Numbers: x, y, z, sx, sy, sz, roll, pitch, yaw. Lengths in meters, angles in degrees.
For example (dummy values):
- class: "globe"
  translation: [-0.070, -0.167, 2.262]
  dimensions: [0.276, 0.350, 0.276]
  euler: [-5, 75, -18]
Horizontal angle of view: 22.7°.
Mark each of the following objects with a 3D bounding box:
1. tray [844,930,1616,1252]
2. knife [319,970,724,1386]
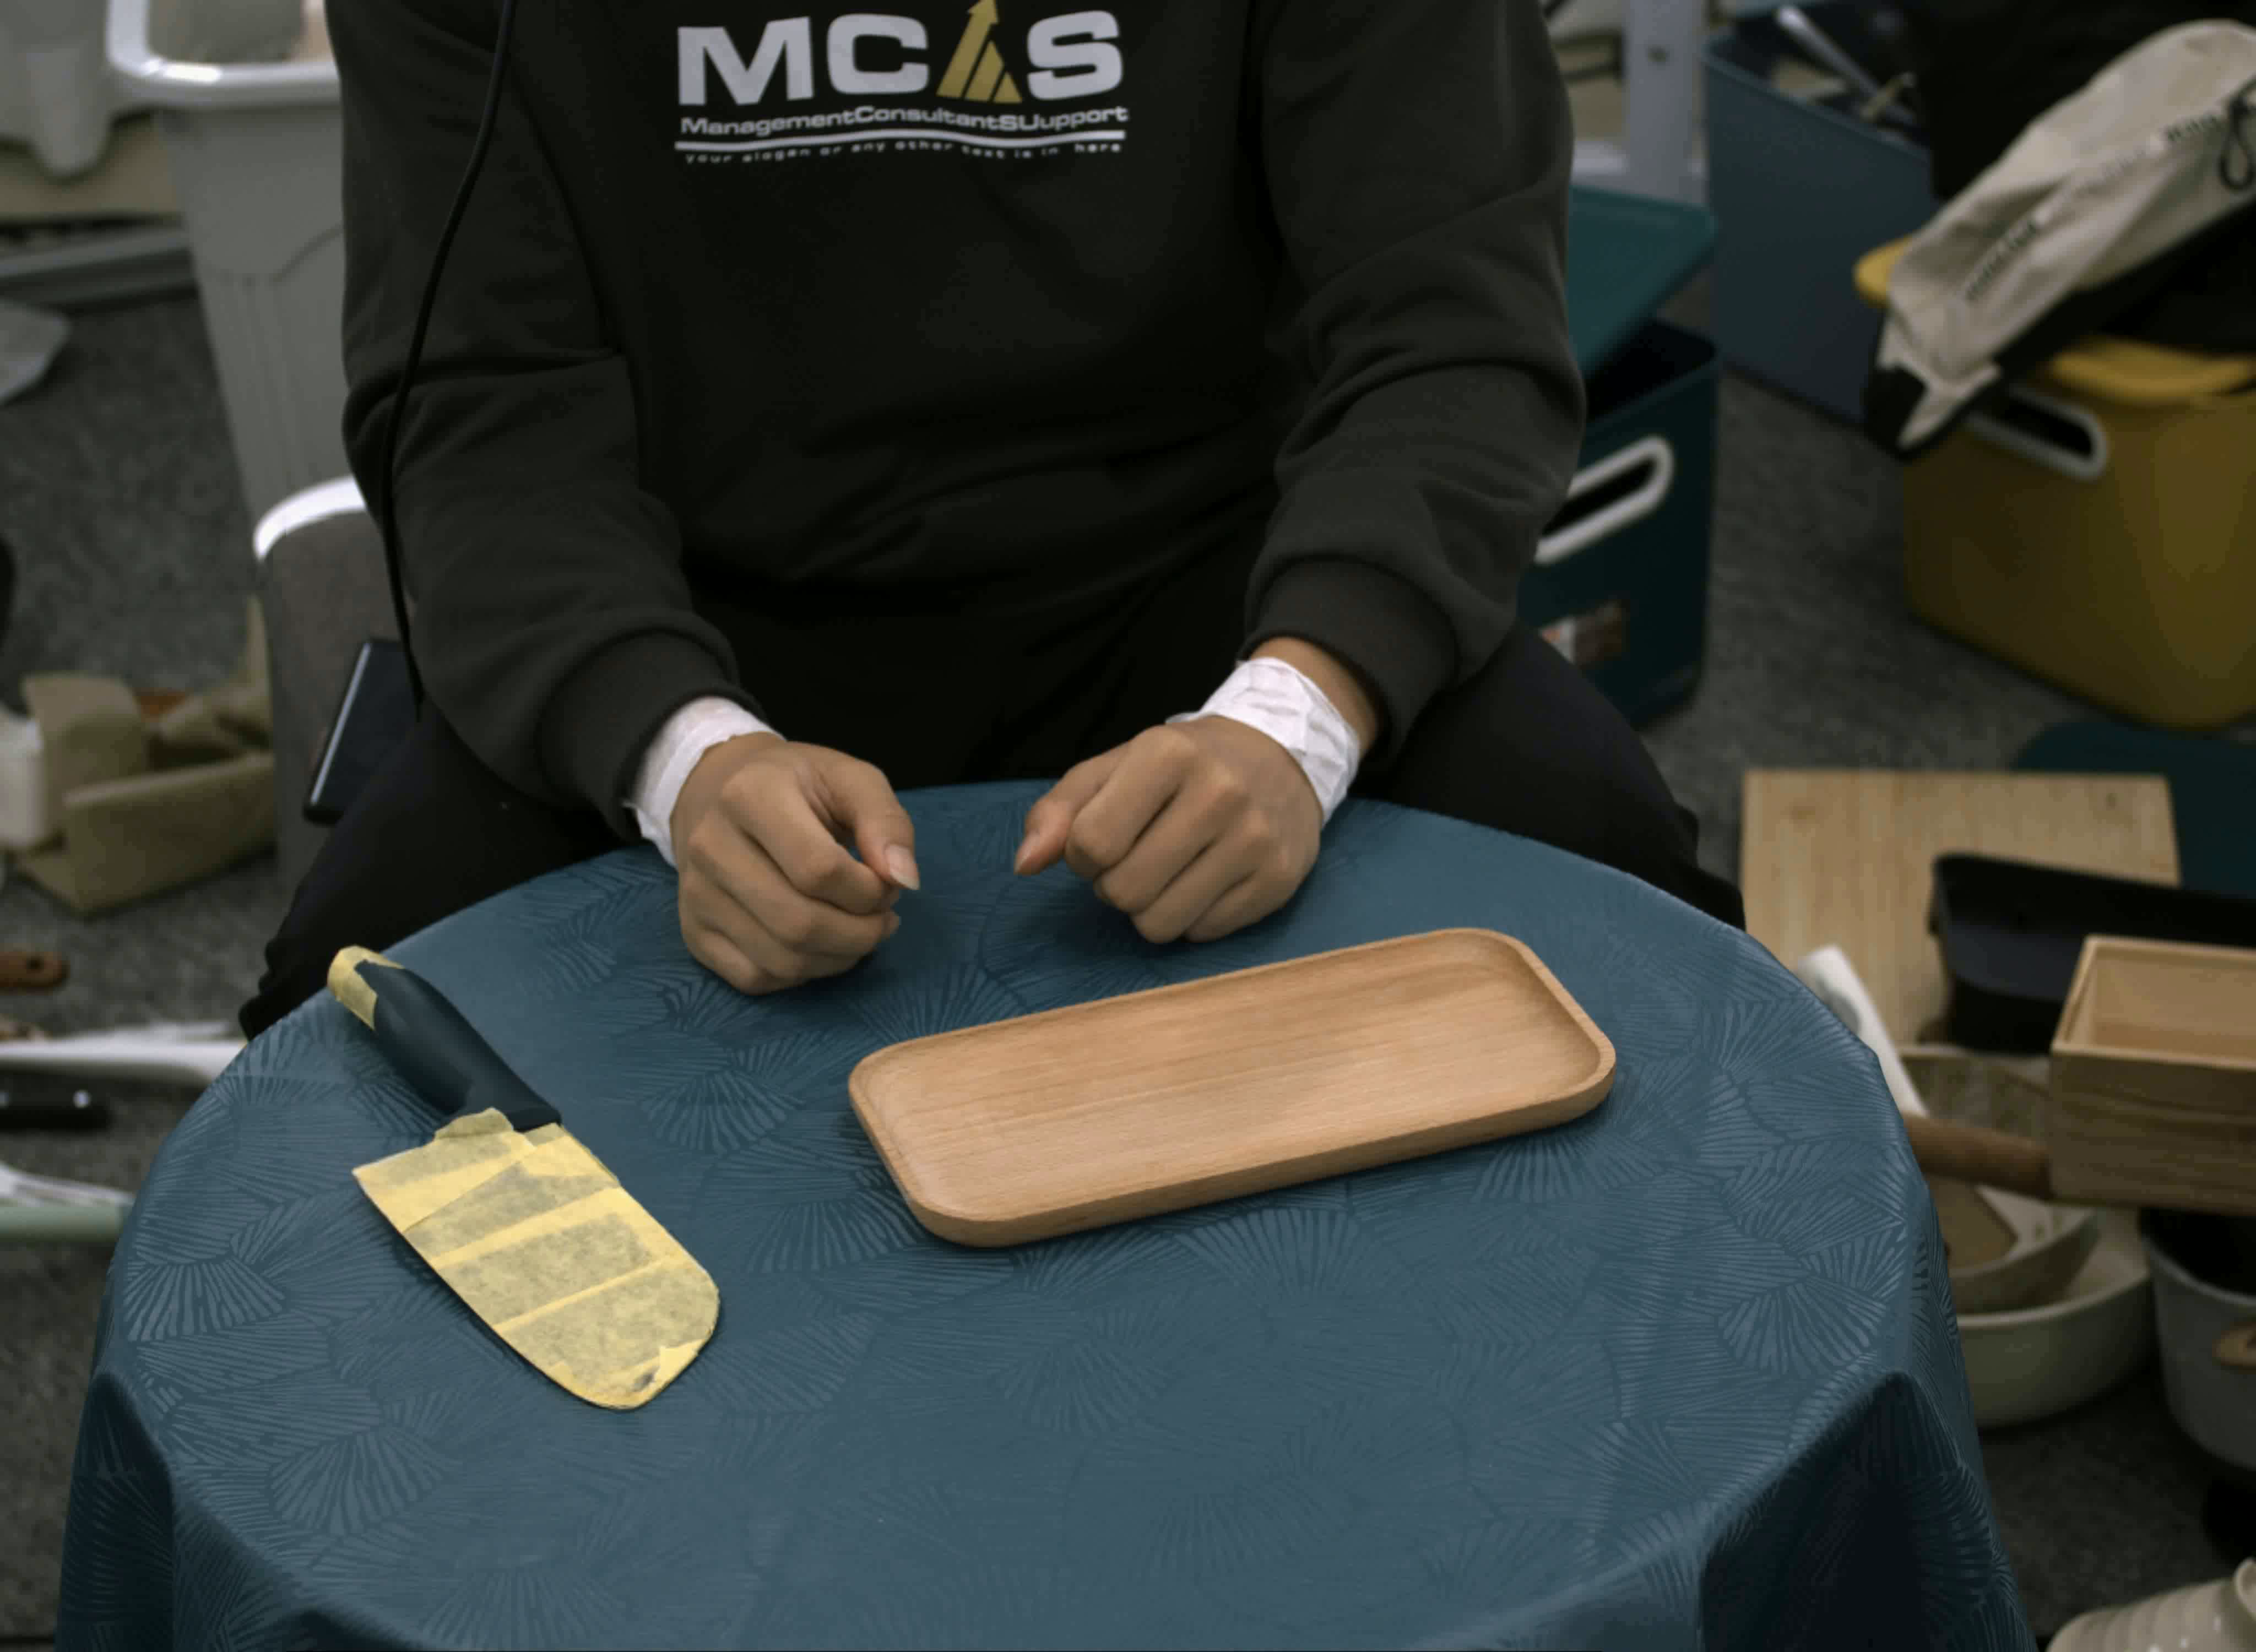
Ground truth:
- class: "tray"
  translation: [0.034, 0.089, 1.904]
  dimensions: [0.251, 0.022, 0.131]
  euler: [-12, 26, -16]
- class: "knife"
  translation: [-0.216, 0.118, 1.873]
  dimensions: [0.081, 0.027, 0.291]
  euler: [-15, 30, -25]
